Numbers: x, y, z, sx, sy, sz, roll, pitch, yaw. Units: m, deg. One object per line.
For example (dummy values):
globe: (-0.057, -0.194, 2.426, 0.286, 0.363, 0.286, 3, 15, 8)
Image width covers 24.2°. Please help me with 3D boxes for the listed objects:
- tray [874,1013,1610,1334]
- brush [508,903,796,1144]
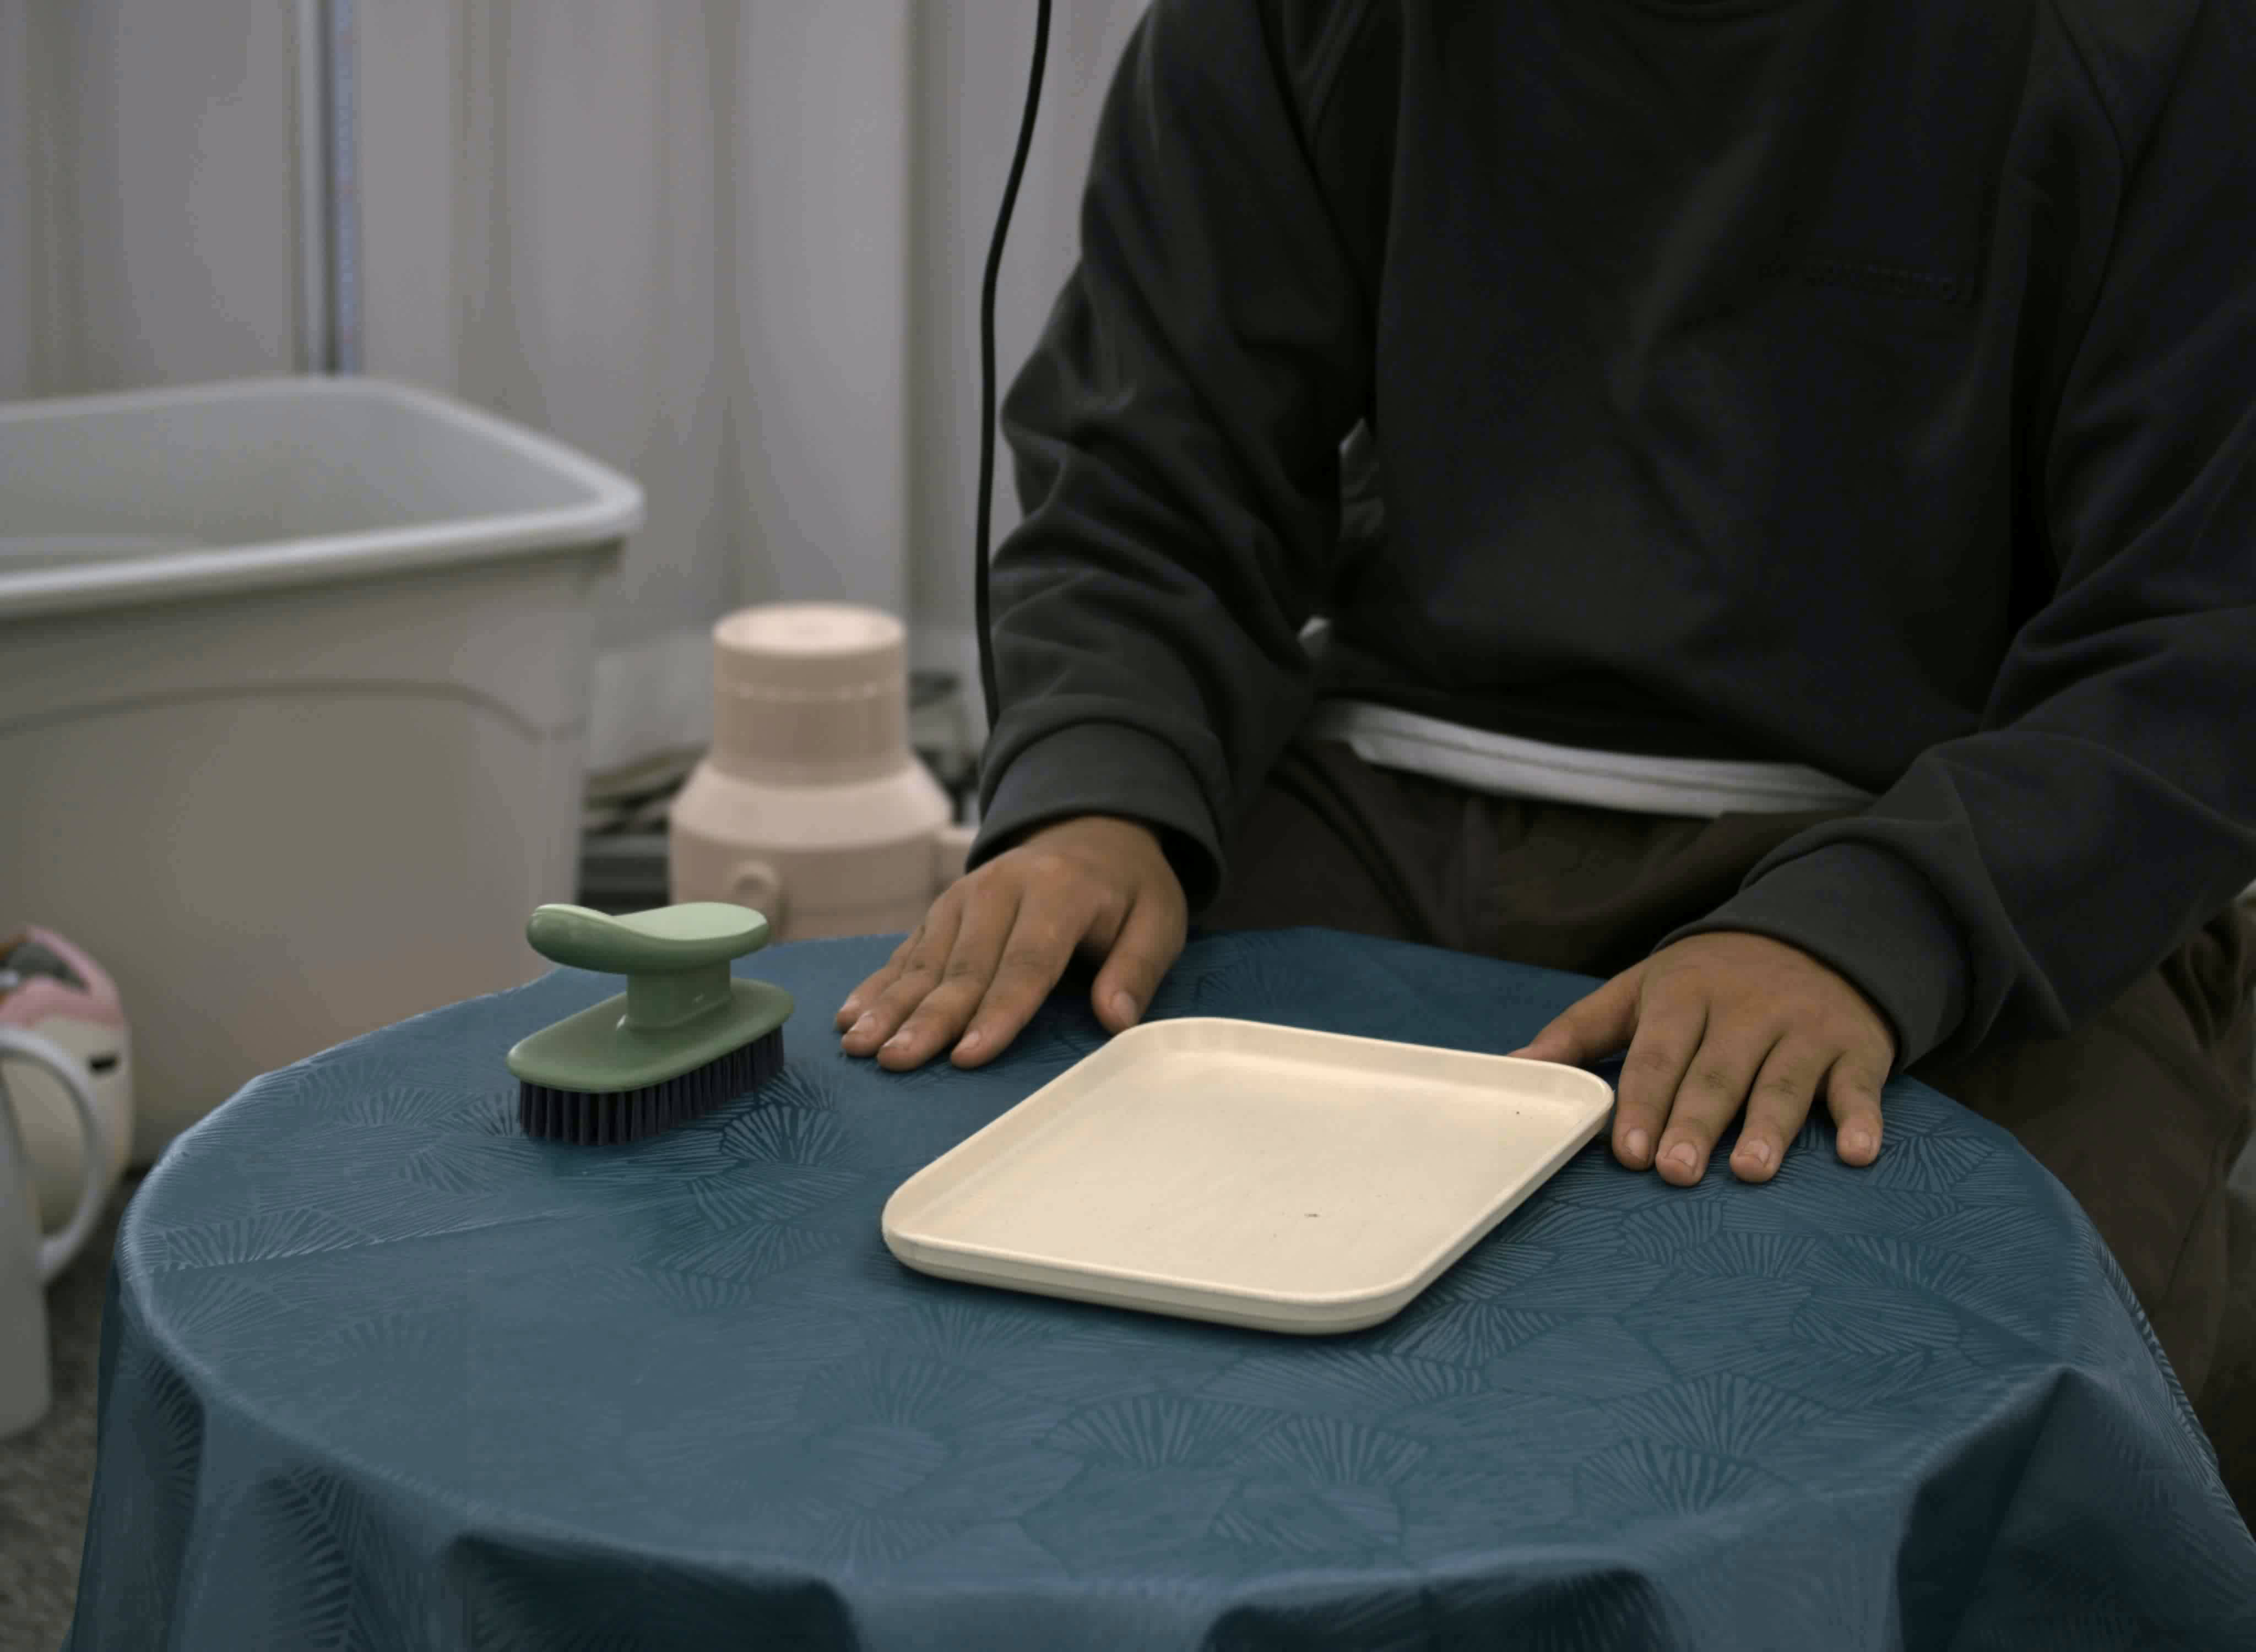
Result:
tray: (0.039, 0.105, 1.620, 0.169, 0.017, 0.240, 8, 17, 22)
brush: (-0.154, 0.063, 1.701, 0.059, 0.076, 0.124, 10, 4, 26)
